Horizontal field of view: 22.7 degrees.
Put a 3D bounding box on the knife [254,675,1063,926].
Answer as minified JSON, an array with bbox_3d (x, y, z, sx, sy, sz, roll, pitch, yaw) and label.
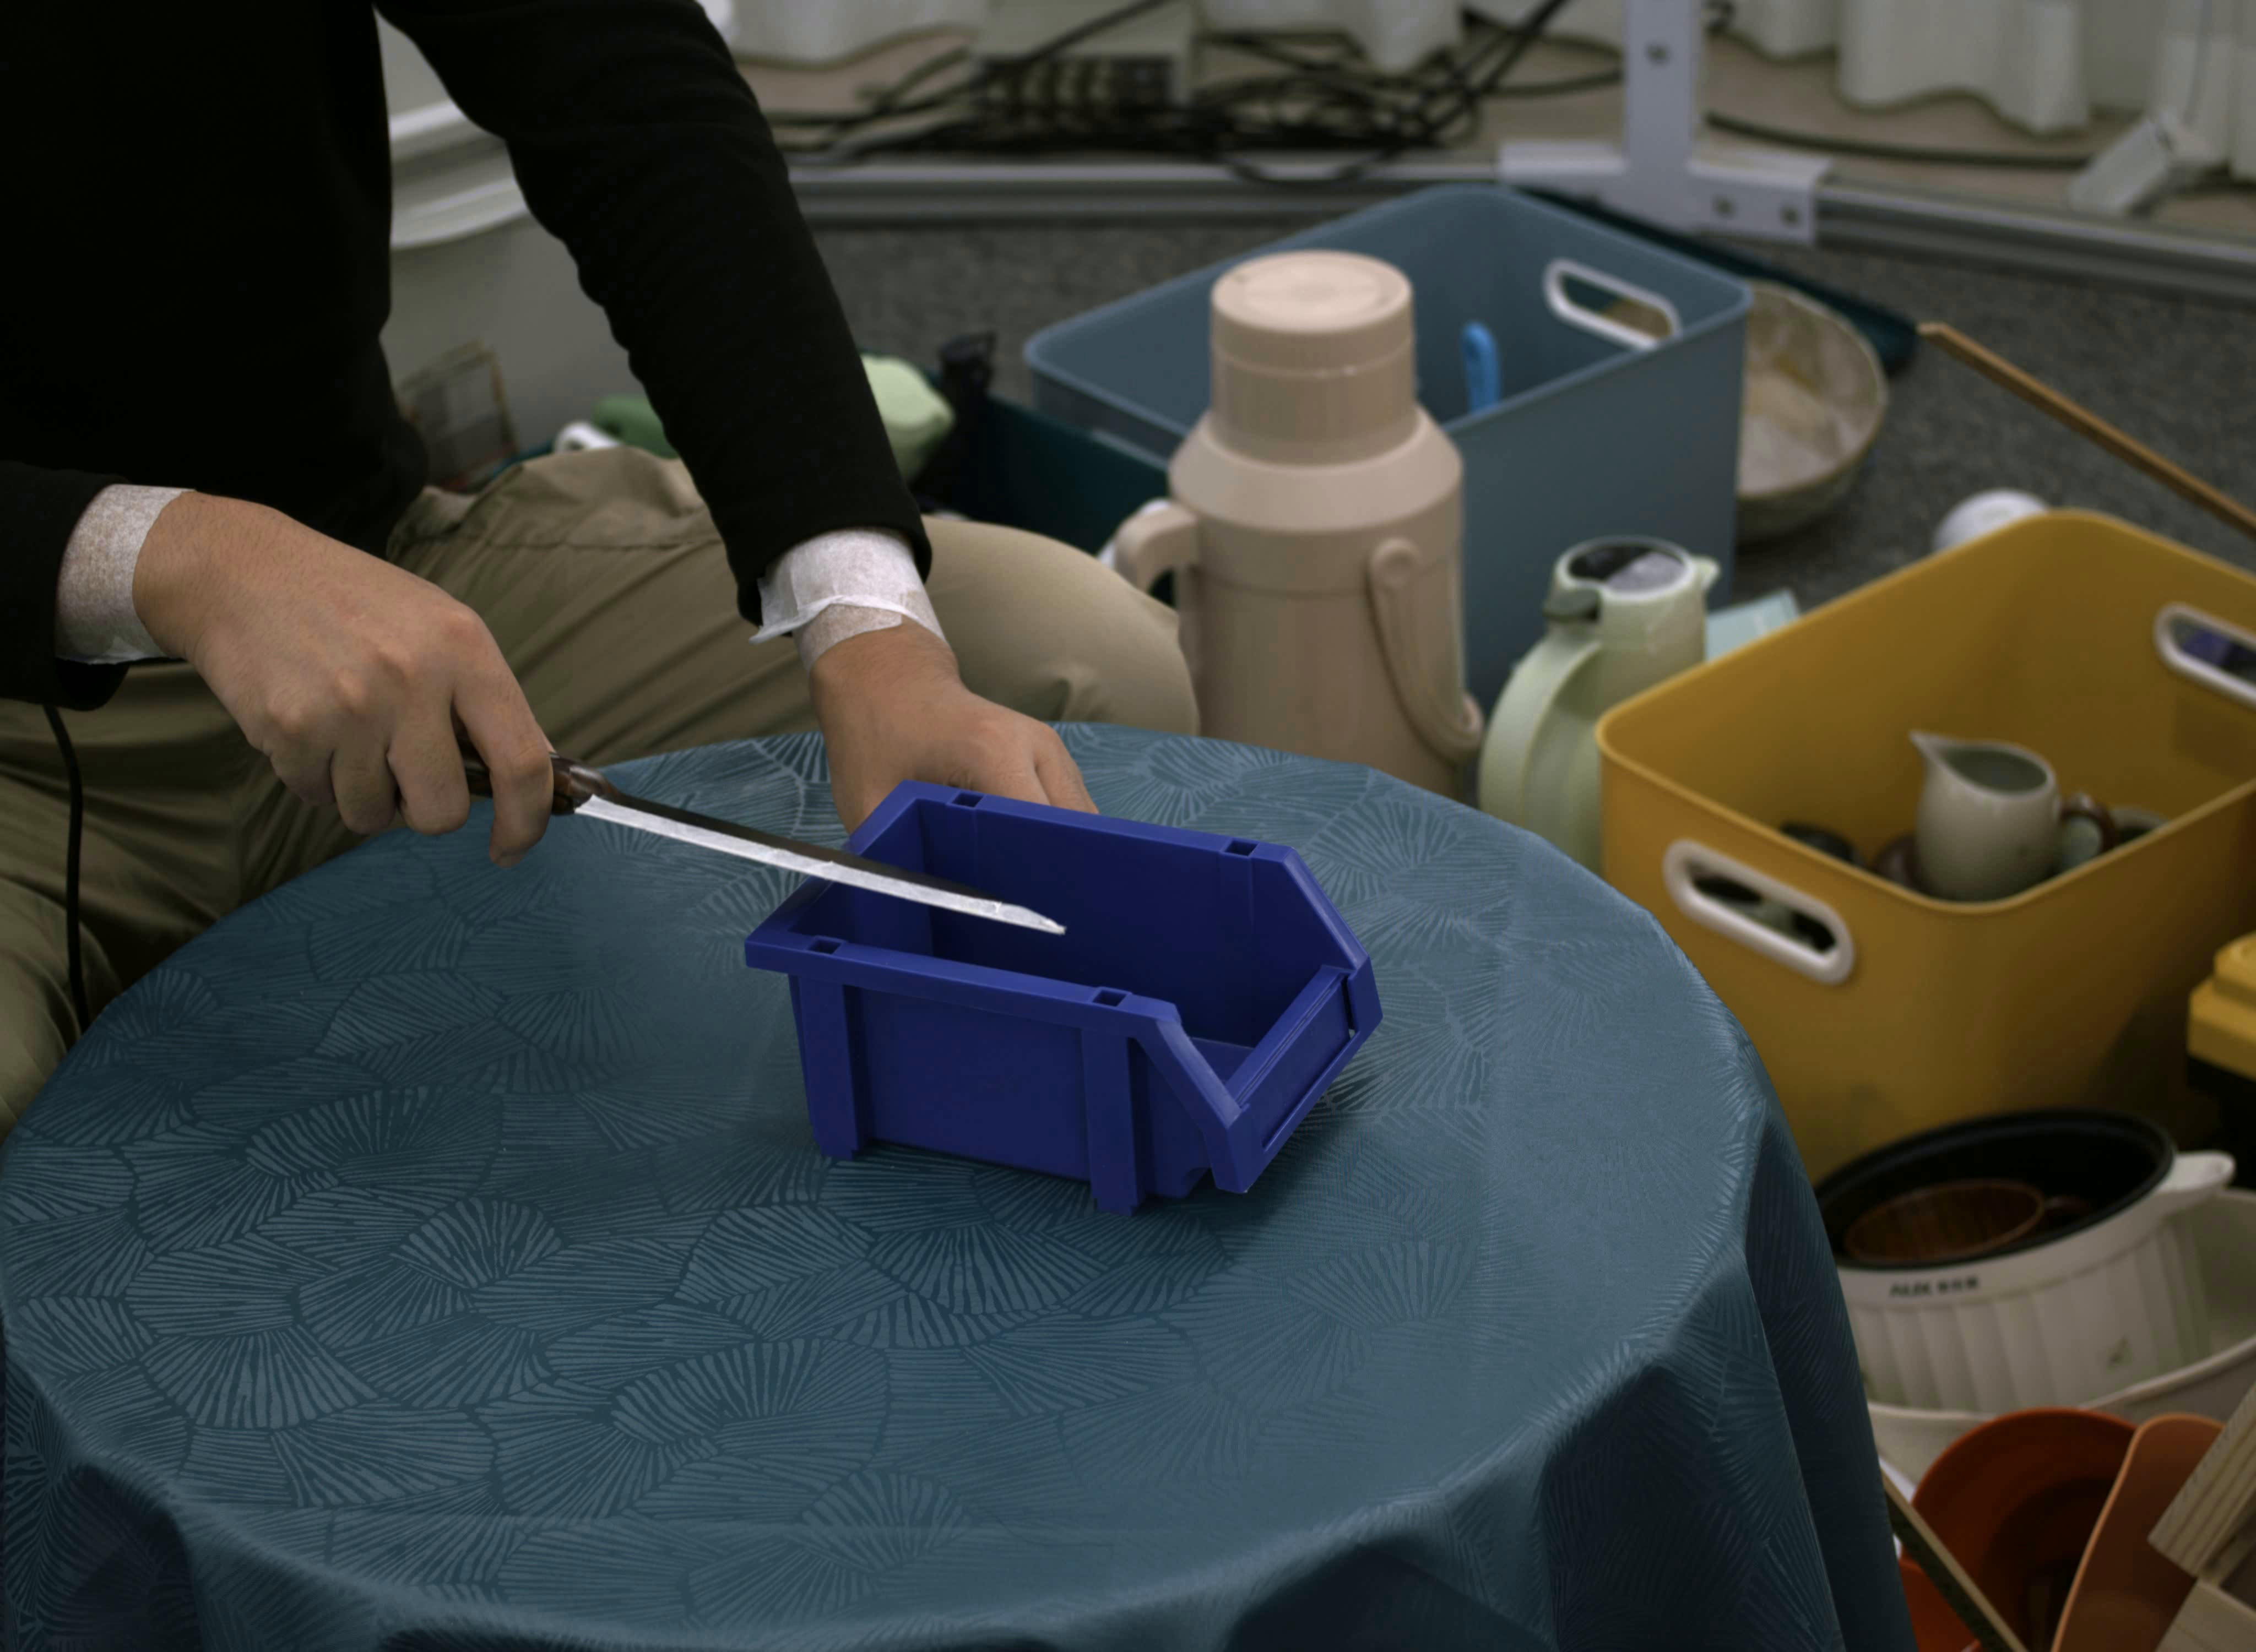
[{"bbox_3d":[-0.159,-0.005,1.886,0.288,0.020,0.050,15,12,6],"label":"knife"}]

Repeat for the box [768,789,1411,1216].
[{"bbox_3d":[-0.010,0.059,1.894,0.178,0.081,0.126,8,29,25],"label":"box"}]
